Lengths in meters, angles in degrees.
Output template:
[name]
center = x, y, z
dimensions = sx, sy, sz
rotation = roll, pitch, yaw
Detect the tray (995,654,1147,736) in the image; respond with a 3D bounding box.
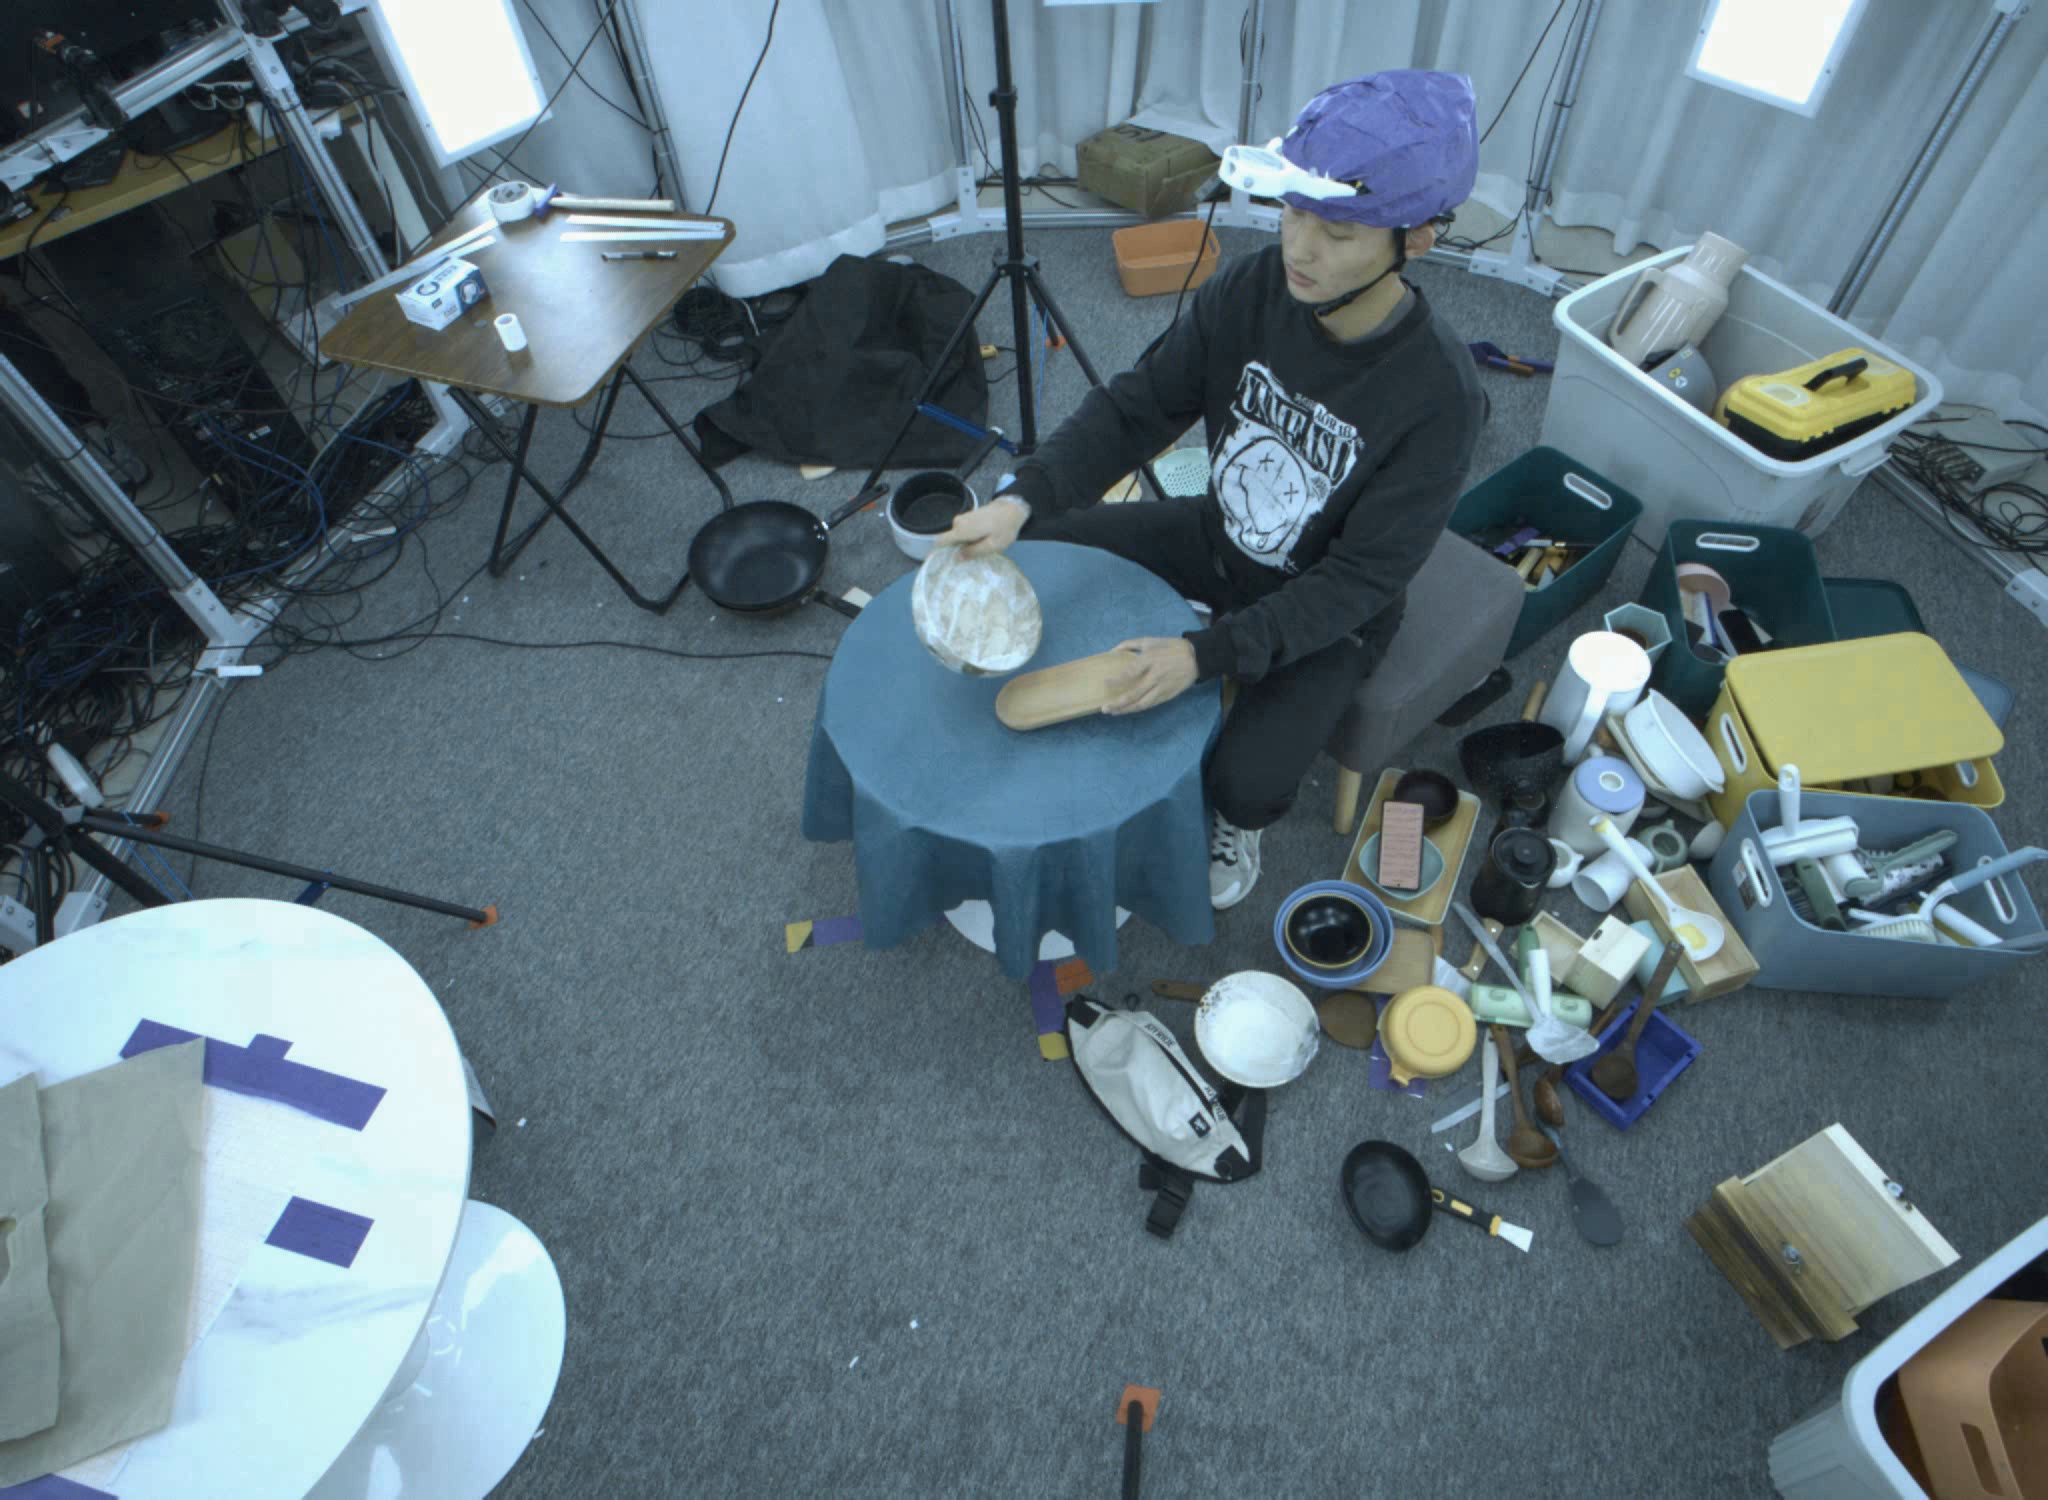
[tray]
center = 0.069, -0.081, 1.810
dimensions = 0.230, 0.021, 0.100
rotation = -16, 50, 10

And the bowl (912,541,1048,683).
[bowl]
center = -0.077, -0.181, 1.739
dimensions = 0.219, 0.093, 0.213
rotation = 16, 62, -32
